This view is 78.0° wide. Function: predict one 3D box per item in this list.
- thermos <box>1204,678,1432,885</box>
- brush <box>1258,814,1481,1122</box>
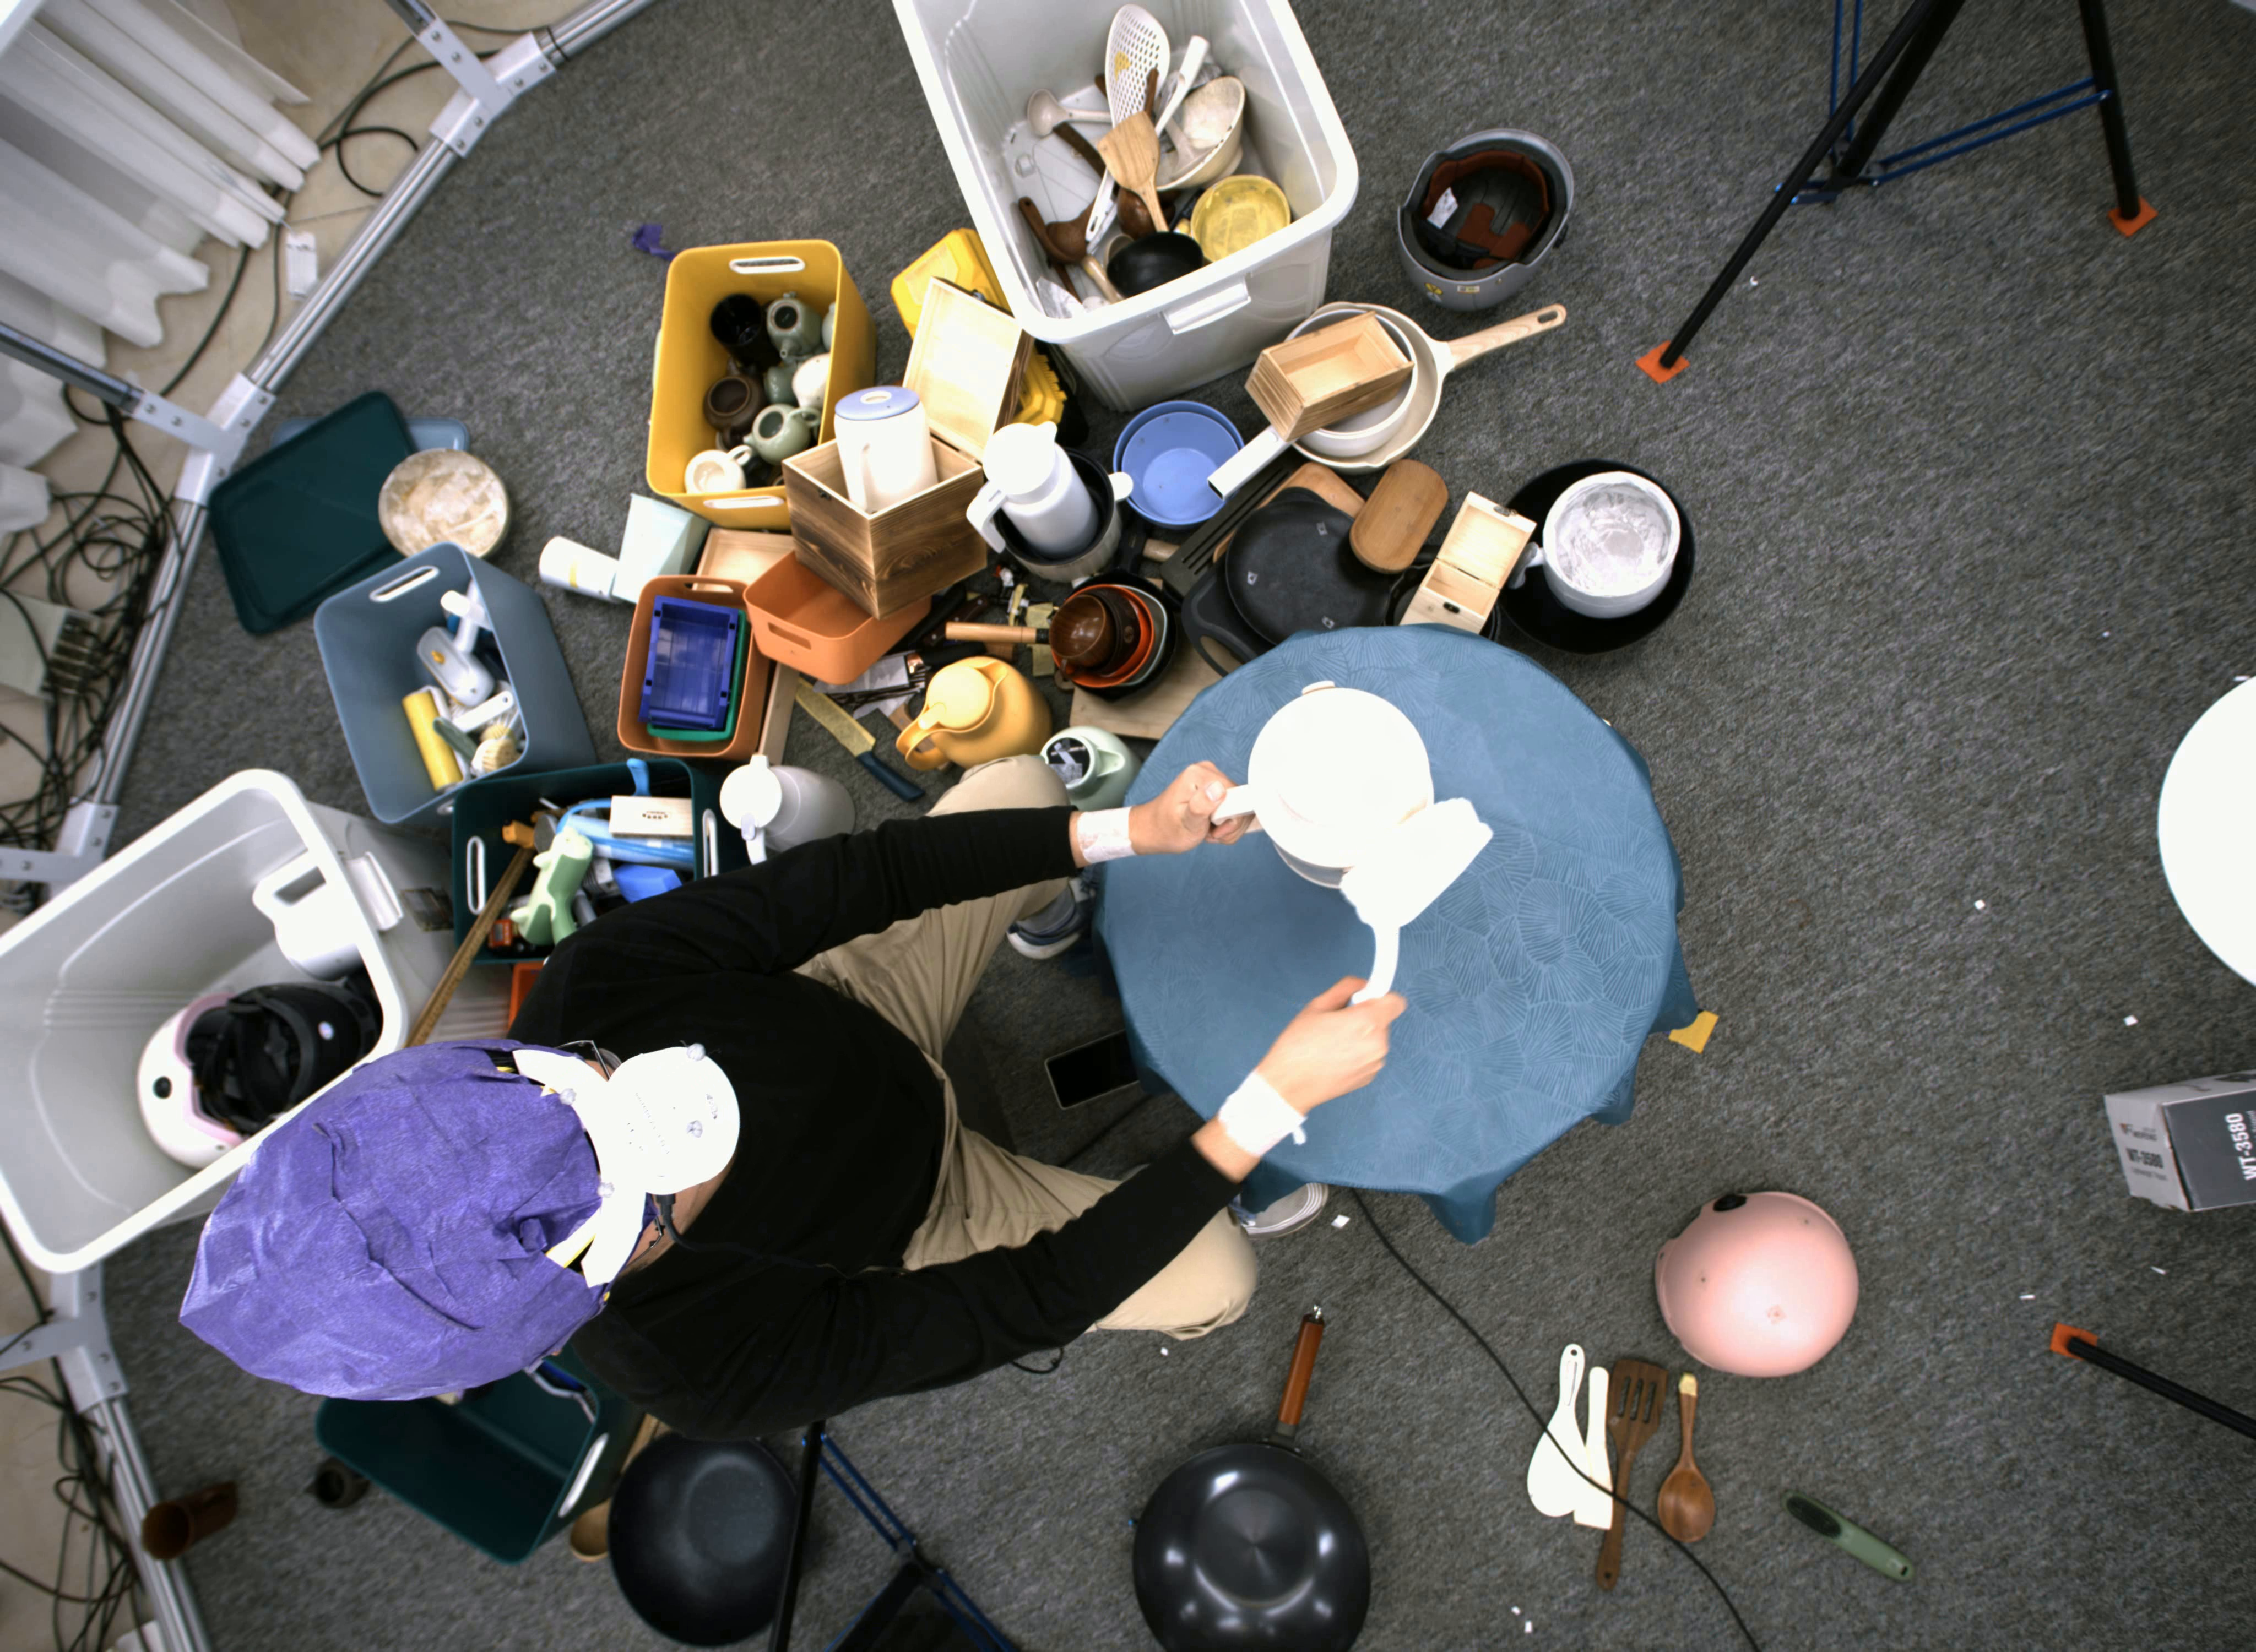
[{"bbox_3d":[0.181,-0.034,1.281,0.208,0.406,0.174,-13,84,8],"label":"thermos"},{"bbox_3d":[0.186,0.117,1.202,0.083,0.083,0.331,30,112,-5],"label":"brush"}]
